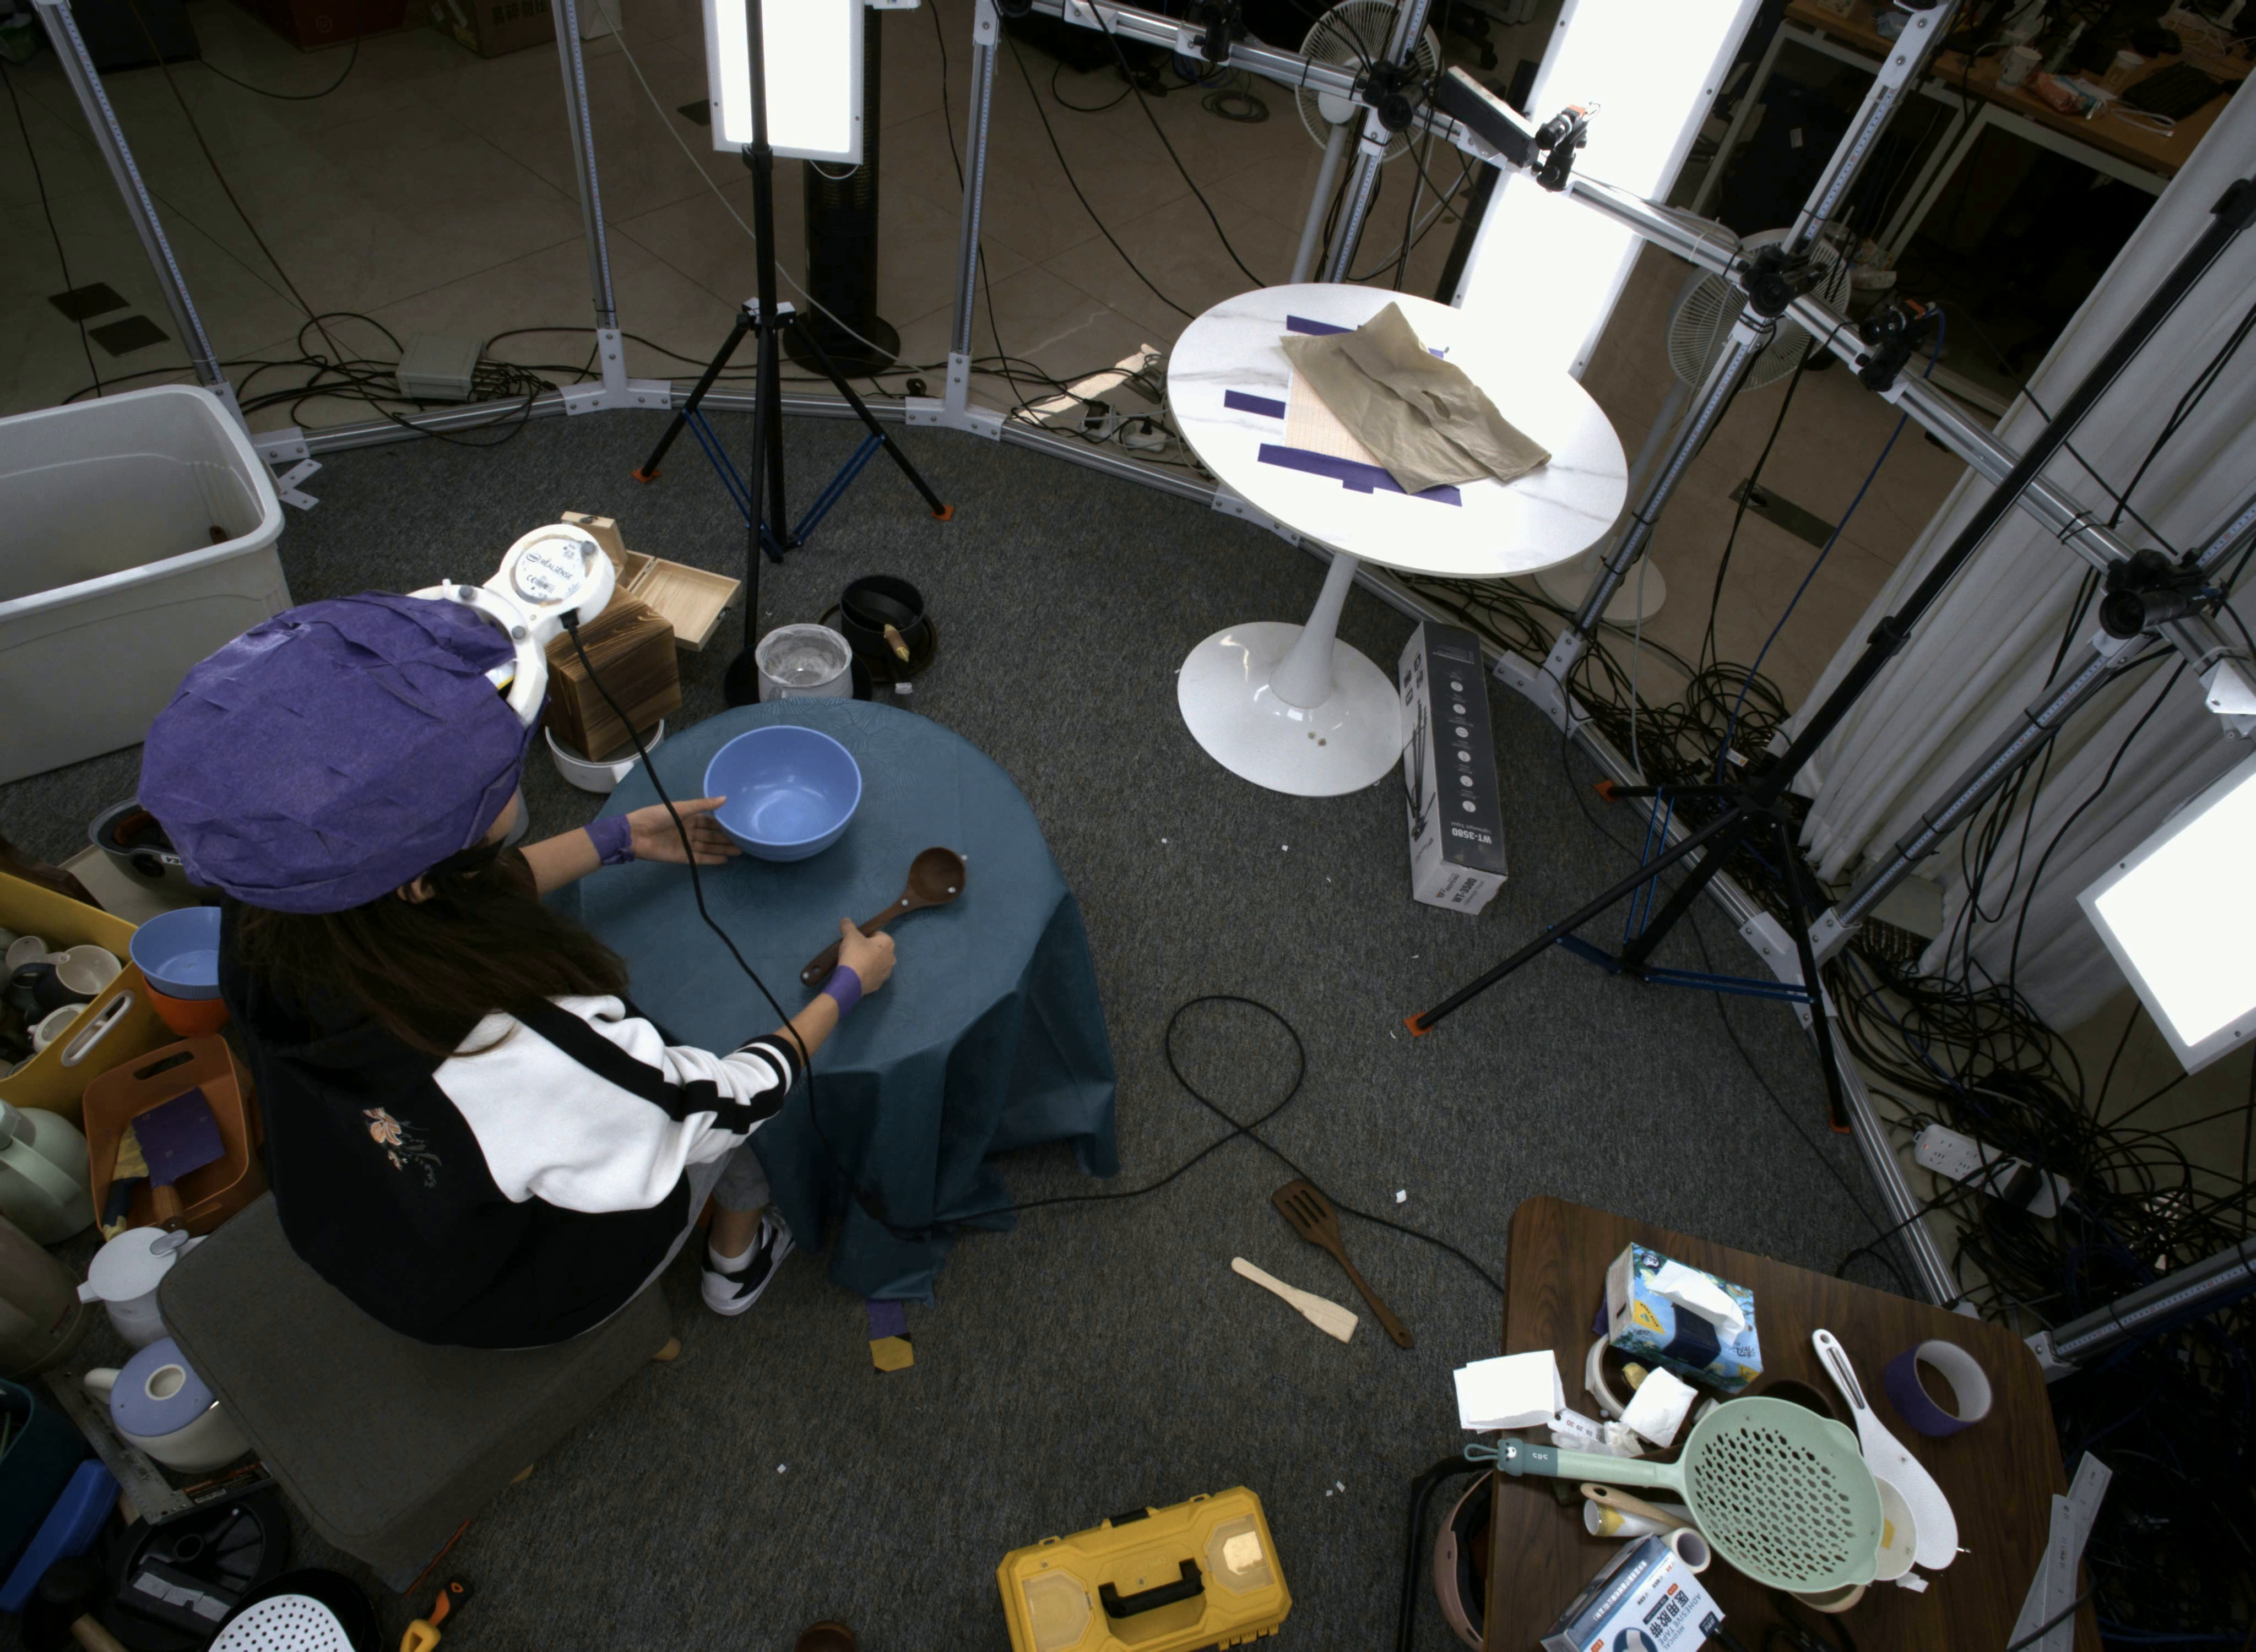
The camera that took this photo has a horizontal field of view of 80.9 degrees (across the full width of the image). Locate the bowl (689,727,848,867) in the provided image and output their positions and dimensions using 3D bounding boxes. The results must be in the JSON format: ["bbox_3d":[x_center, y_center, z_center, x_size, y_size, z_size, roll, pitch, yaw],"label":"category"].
[{"bbox_3d":[-0.463,-0.023,1.665,0.197,0.097,0.193,12,51,-13],"label":"bowl"}]

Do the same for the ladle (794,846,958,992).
[{"bbox_3d":[-0.313,0.112,1.617,0.075,0.066,0.260,41,50,12],"label":"ladle"}]
